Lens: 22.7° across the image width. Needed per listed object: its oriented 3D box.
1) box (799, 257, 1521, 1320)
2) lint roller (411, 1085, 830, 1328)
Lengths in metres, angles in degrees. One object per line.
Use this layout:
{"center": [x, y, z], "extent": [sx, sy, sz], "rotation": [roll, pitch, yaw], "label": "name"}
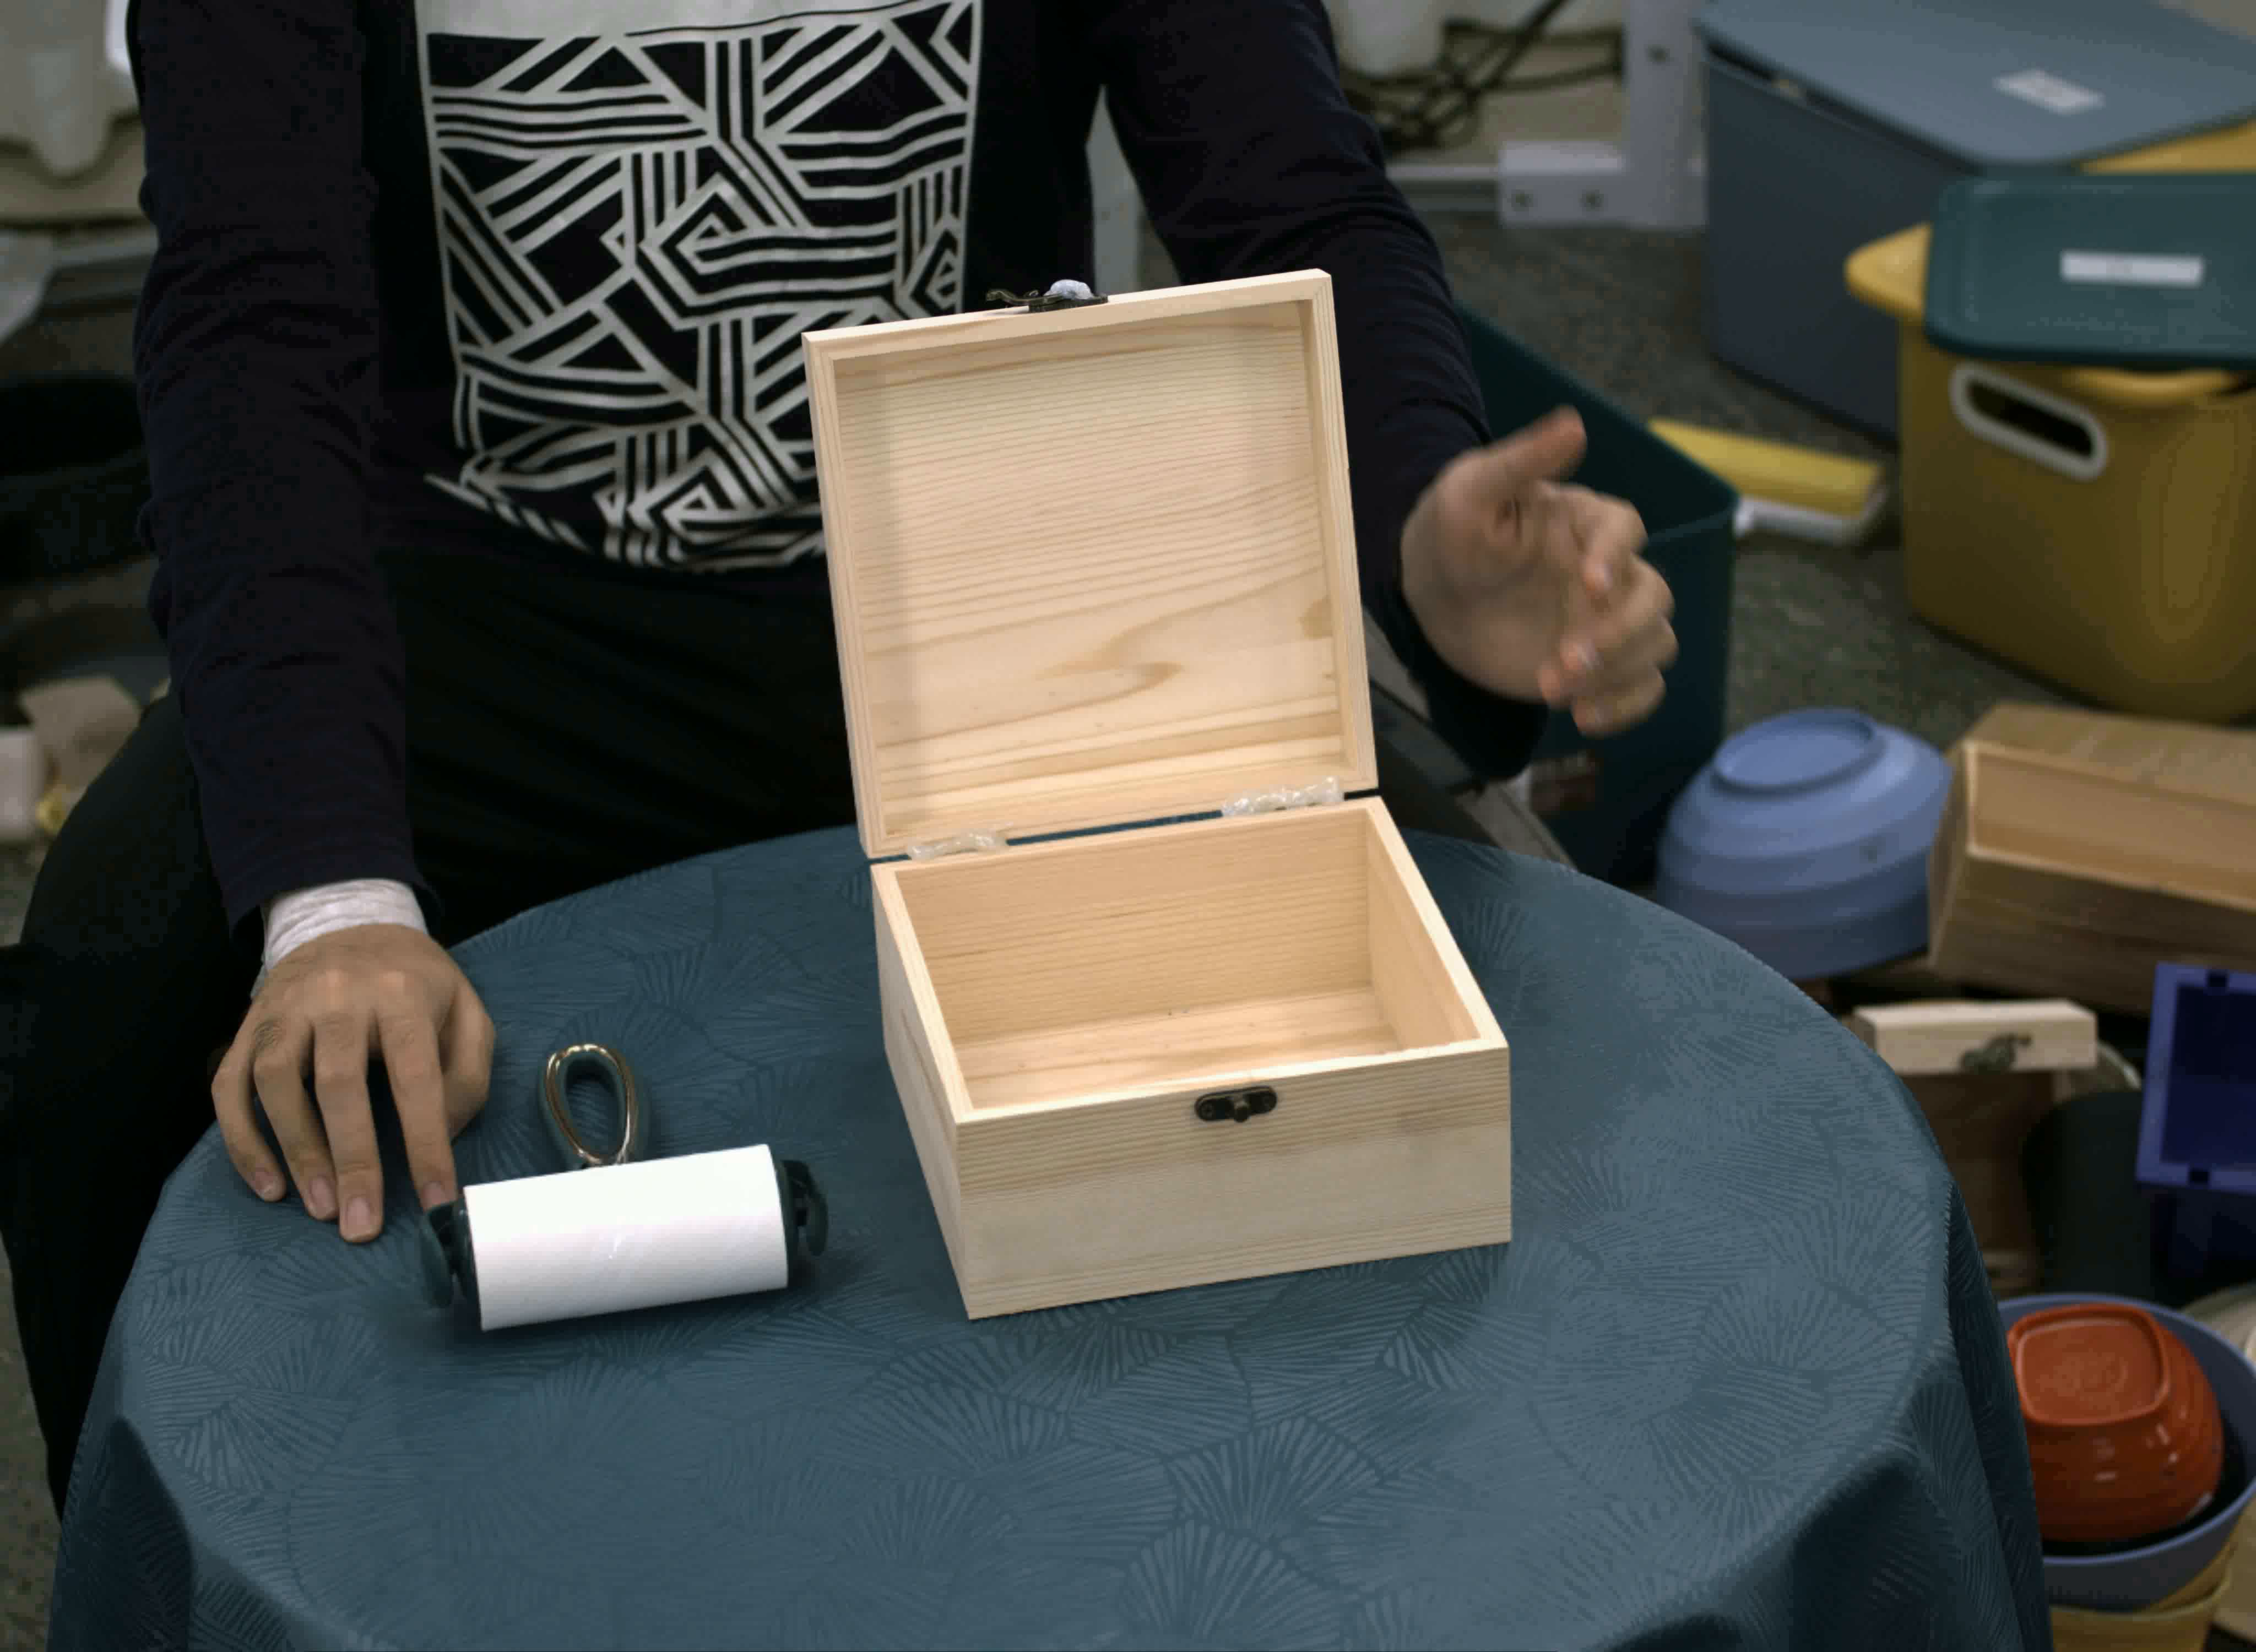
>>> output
{"center": [0.009, -0.019, 1.863], "extent": [0.181, 0.250, 0.268], "rotation": [-9, 27, -9], "label": "box"}
{"center": [-0.175, 0.107, 1.865], "extent": [0.134, 0.048, 0.182], "rotation": [-8, 23, -9], "label": "lint roller"}
